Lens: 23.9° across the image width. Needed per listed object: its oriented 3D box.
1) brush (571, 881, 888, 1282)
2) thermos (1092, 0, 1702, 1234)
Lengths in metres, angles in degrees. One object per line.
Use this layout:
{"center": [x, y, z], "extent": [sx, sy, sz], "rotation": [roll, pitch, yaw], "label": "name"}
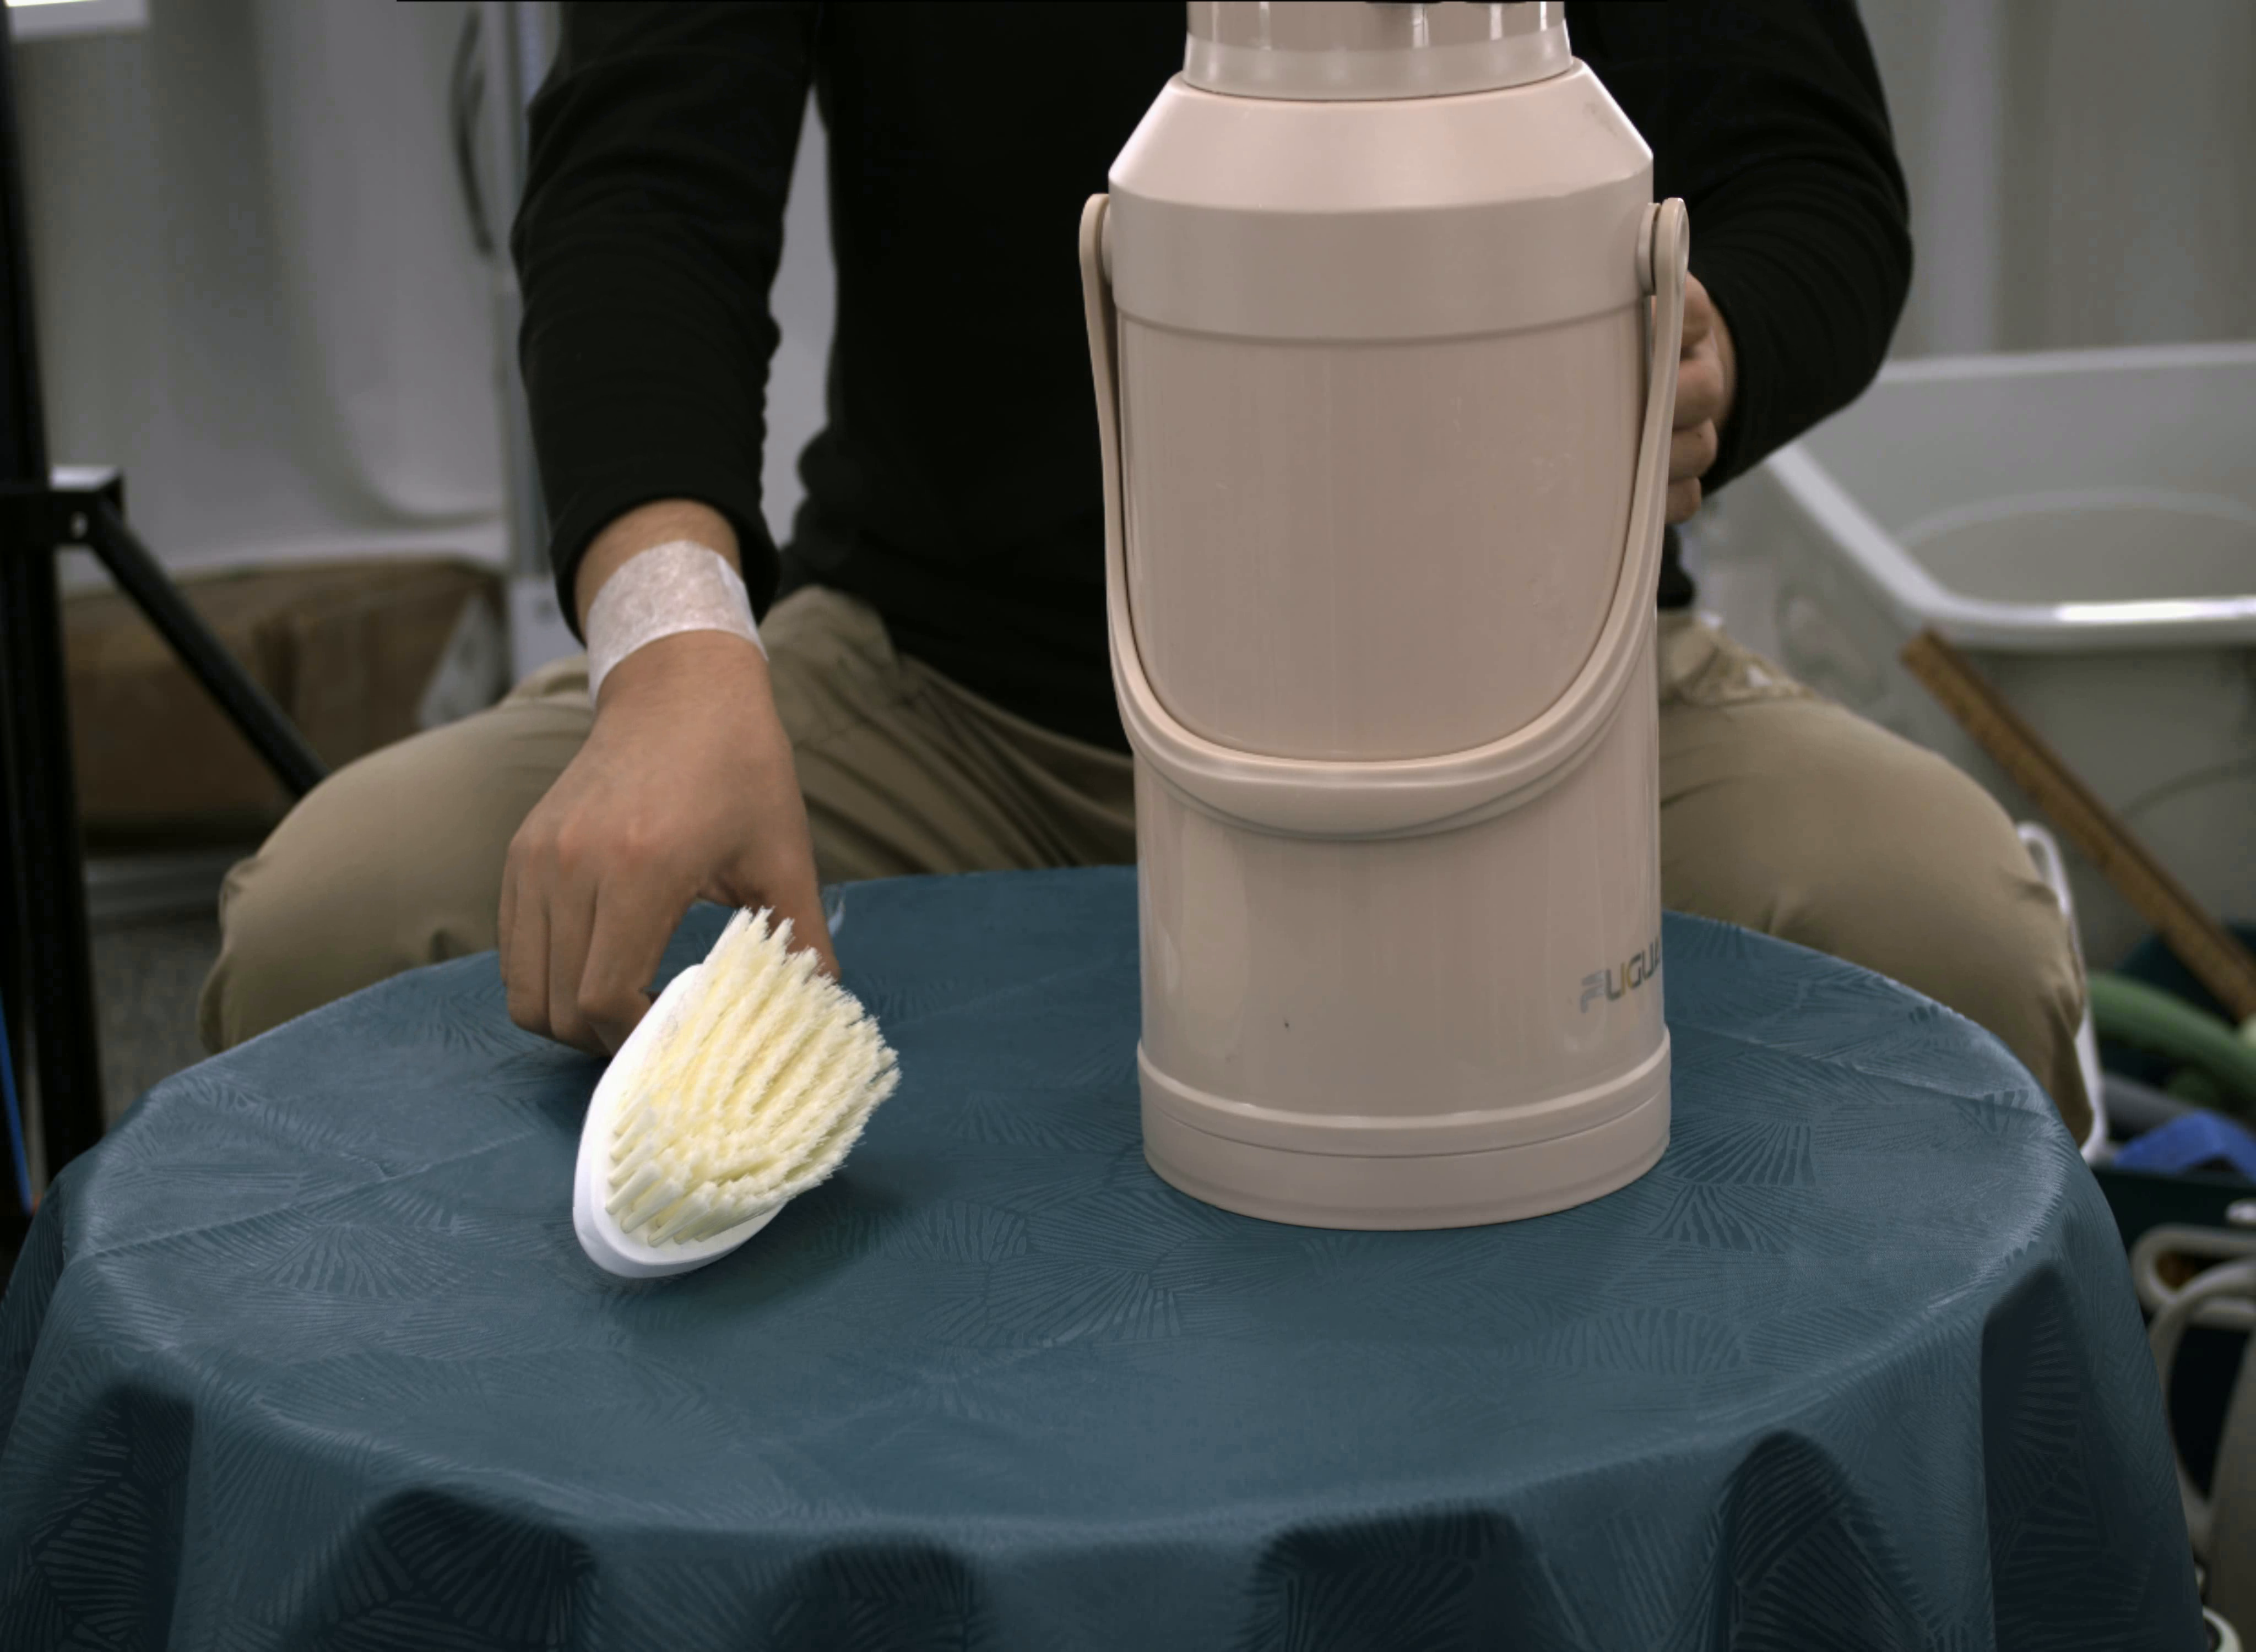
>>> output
{"center": [-0.106, 0.051, 1.635], "extent": [0.085, 0.083, 0.325], "rotation": [-1, 16, 8], "label": "brush"}
{"center": [0.084, -0.100, 1.551], "extent": [0.177, 0.406, 0.205], "rotation": [1, 15, 17], "label": "thermos"}
